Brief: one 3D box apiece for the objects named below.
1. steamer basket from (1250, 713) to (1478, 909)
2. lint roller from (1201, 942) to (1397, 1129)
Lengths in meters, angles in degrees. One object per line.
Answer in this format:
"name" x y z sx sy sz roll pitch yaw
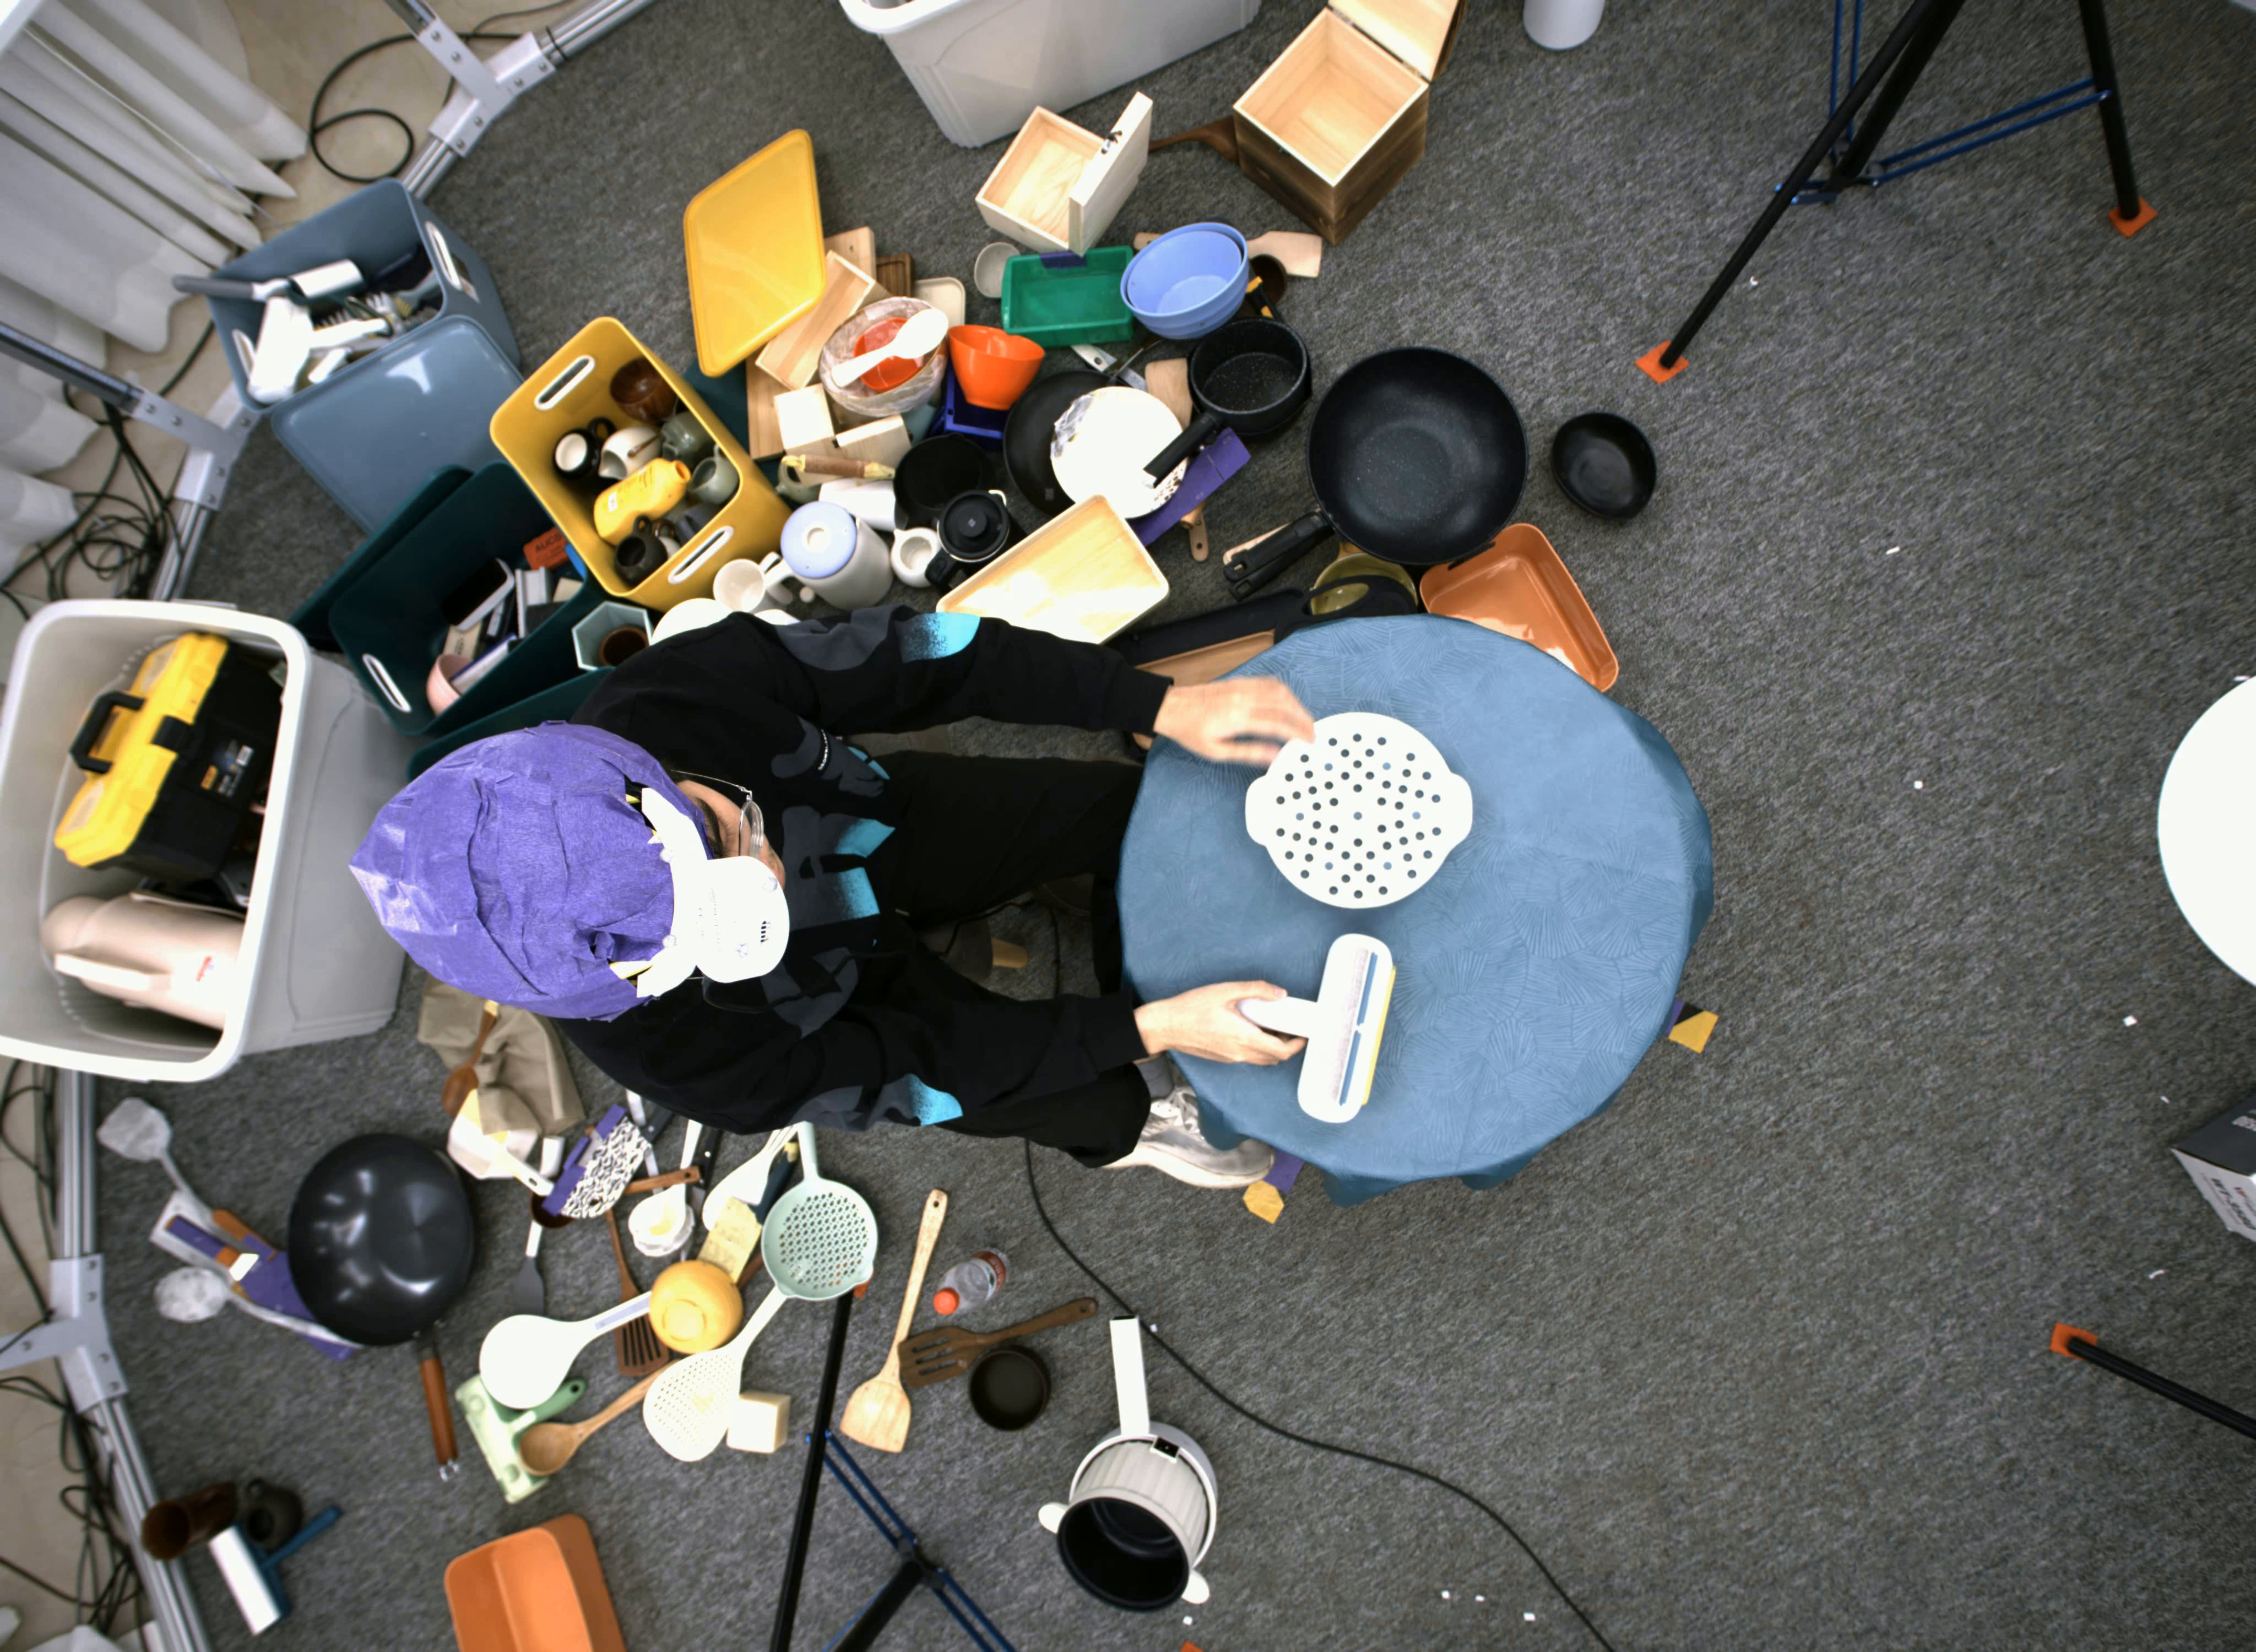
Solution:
"steamer basket" 0.244 -0.014 1.433 0.231 0.069 0.201 -1 85 13
"lint roller" 0.166 0.198 1.434 0.192 0.074 0.192 16 85 12
